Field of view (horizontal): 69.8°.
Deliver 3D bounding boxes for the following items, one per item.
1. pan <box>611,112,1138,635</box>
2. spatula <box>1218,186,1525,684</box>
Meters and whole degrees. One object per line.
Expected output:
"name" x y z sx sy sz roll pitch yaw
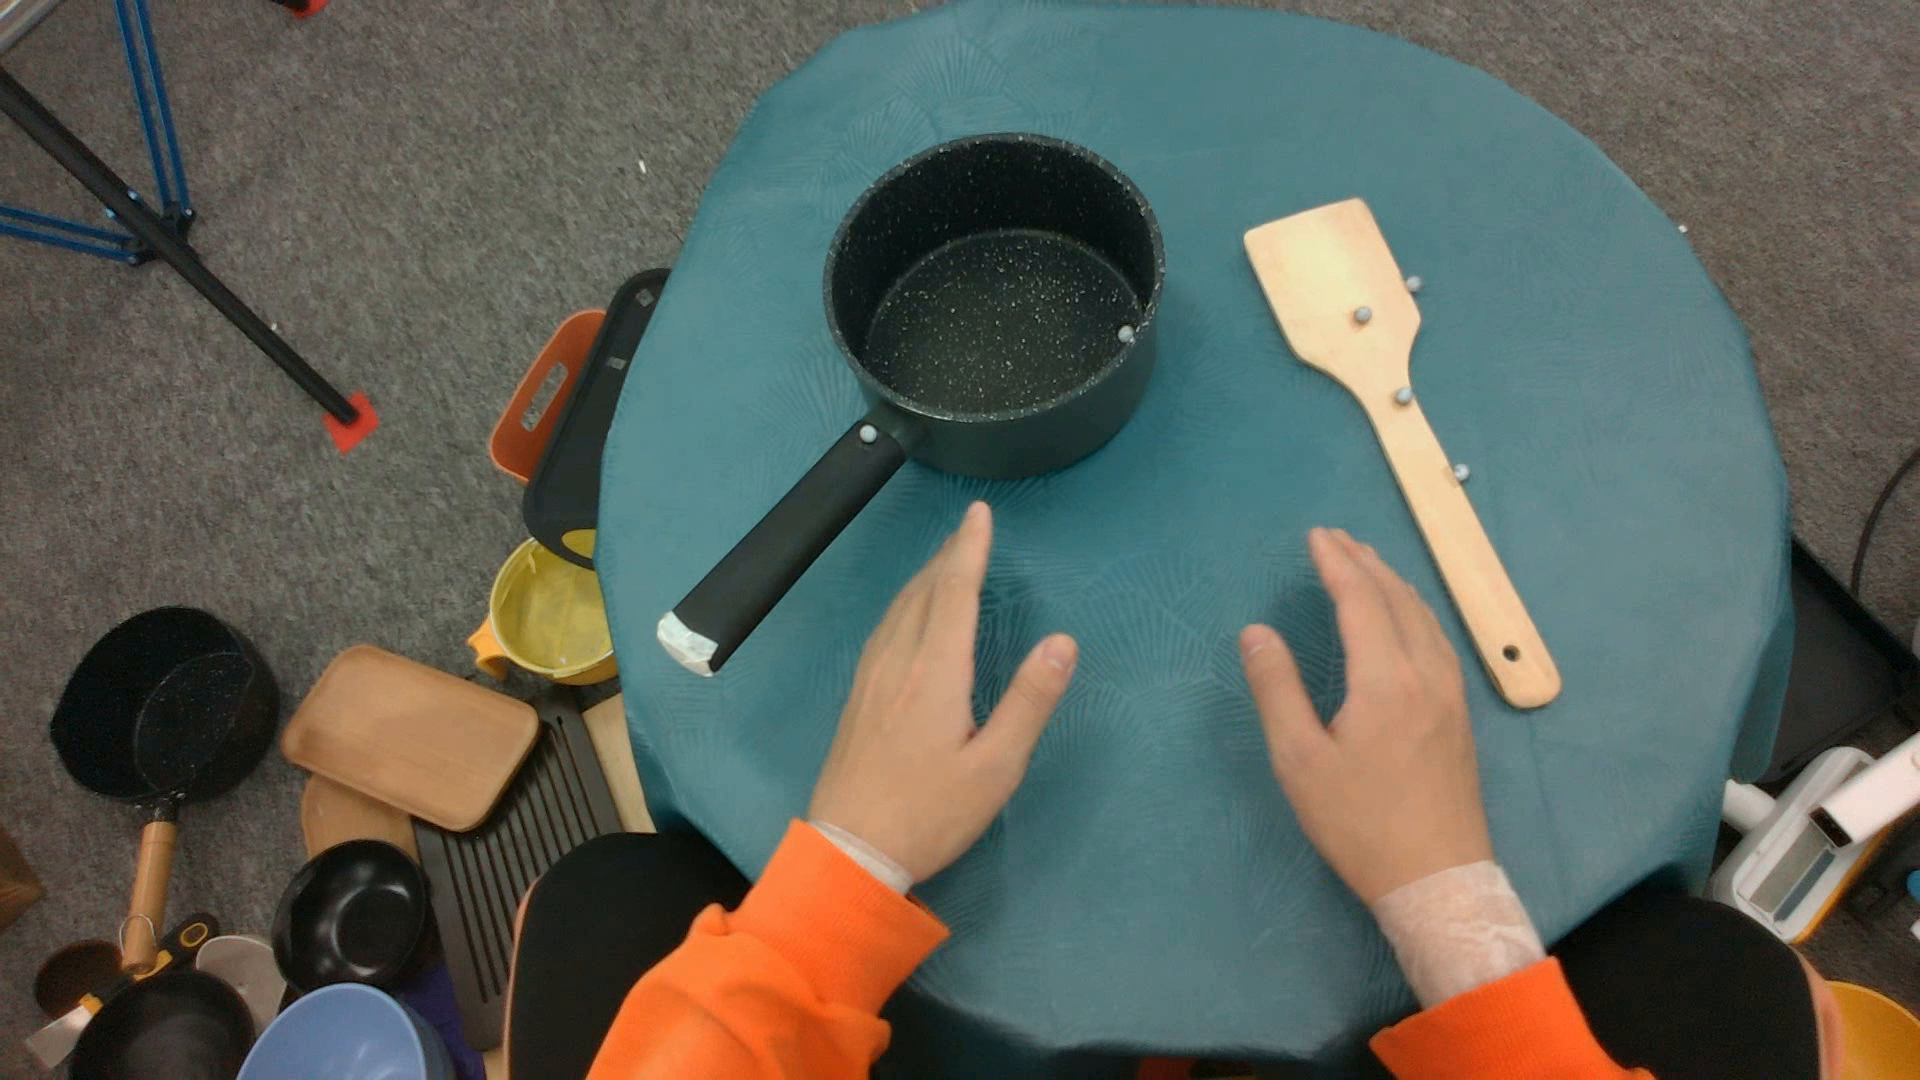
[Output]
"pan" -0.042 -0.072 0.691 0.172 0.086 0.330 33 72 20
"spatula" 0.213 -0.061 0.697 0.072 0.010 0.294 -15 64 -4
